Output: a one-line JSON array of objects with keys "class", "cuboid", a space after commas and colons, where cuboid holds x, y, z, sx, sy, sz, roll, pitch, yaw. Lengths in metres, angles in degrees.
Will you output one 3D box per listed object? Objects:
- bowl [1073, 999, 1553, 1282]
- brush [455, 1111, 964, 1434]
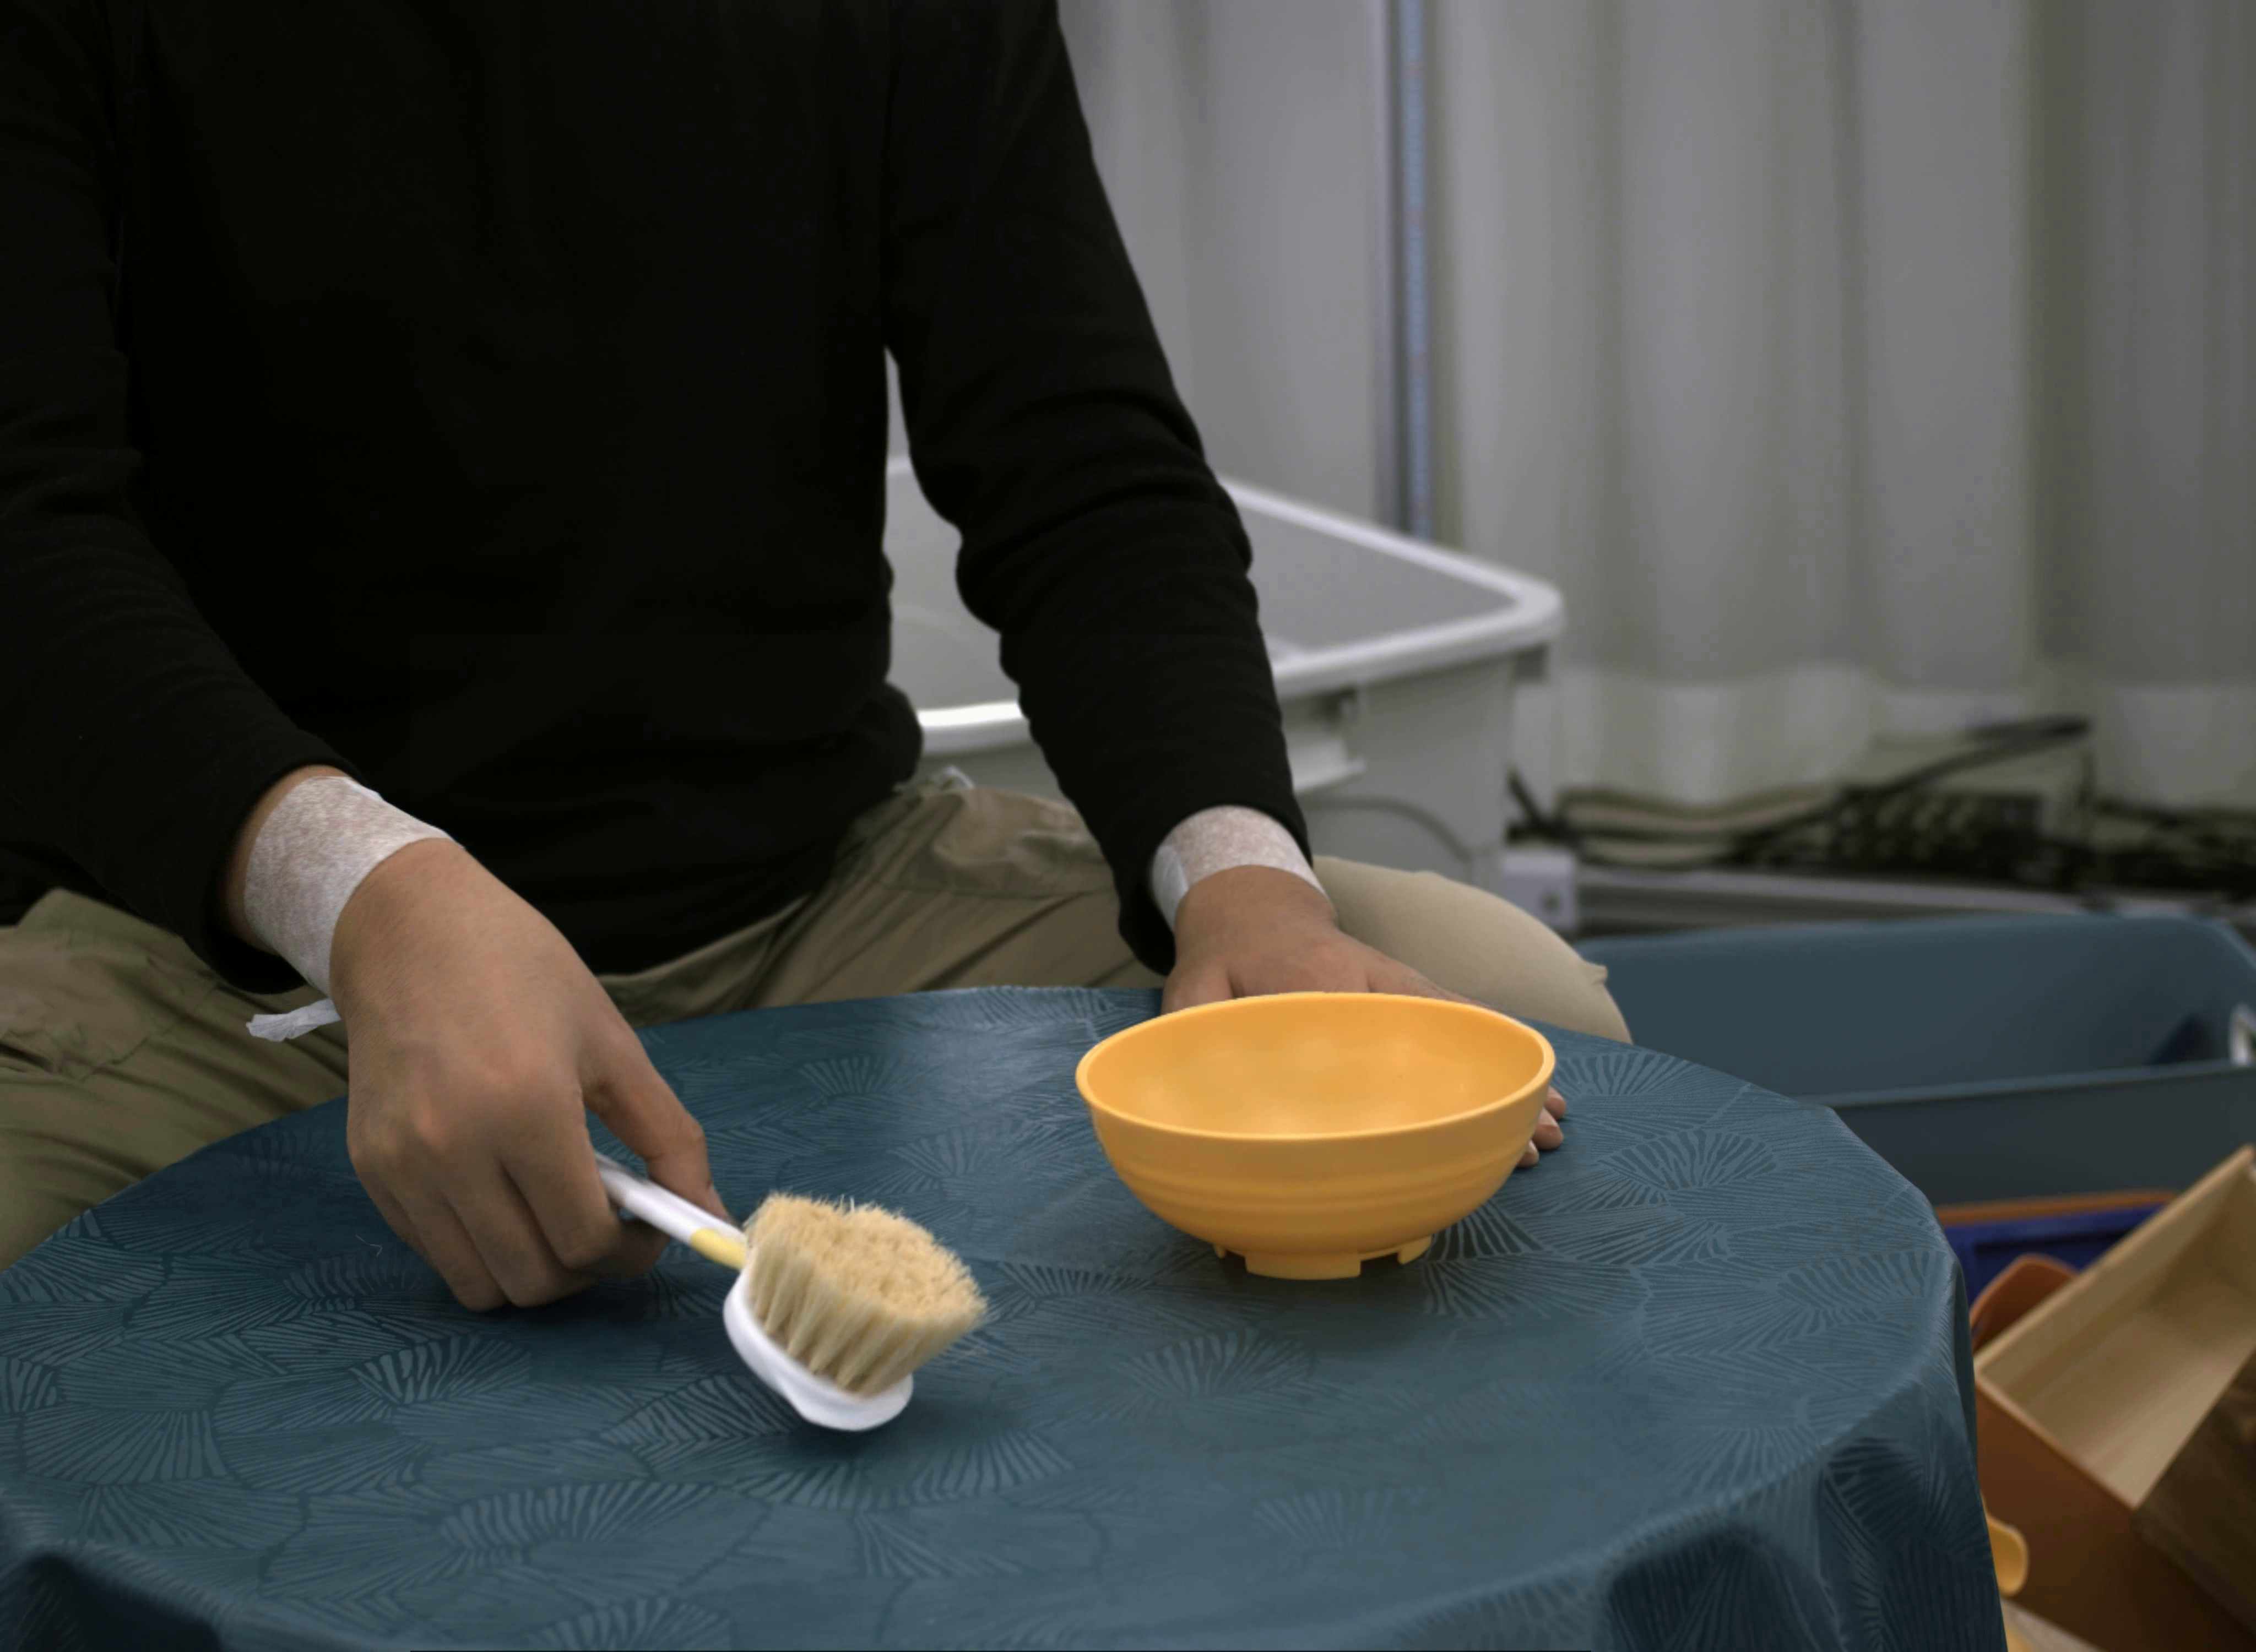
[{"class": "bowl", "cuboid": [0.056, 0.099, 1.649, 0.145, 0.060, 0.146, -2, 14, 0]}, {"class": "brush", "cuboid": [-0.131, 0.107, 1.608, 0.068, 0.056, 0.269, 28, 0, -32]}]
